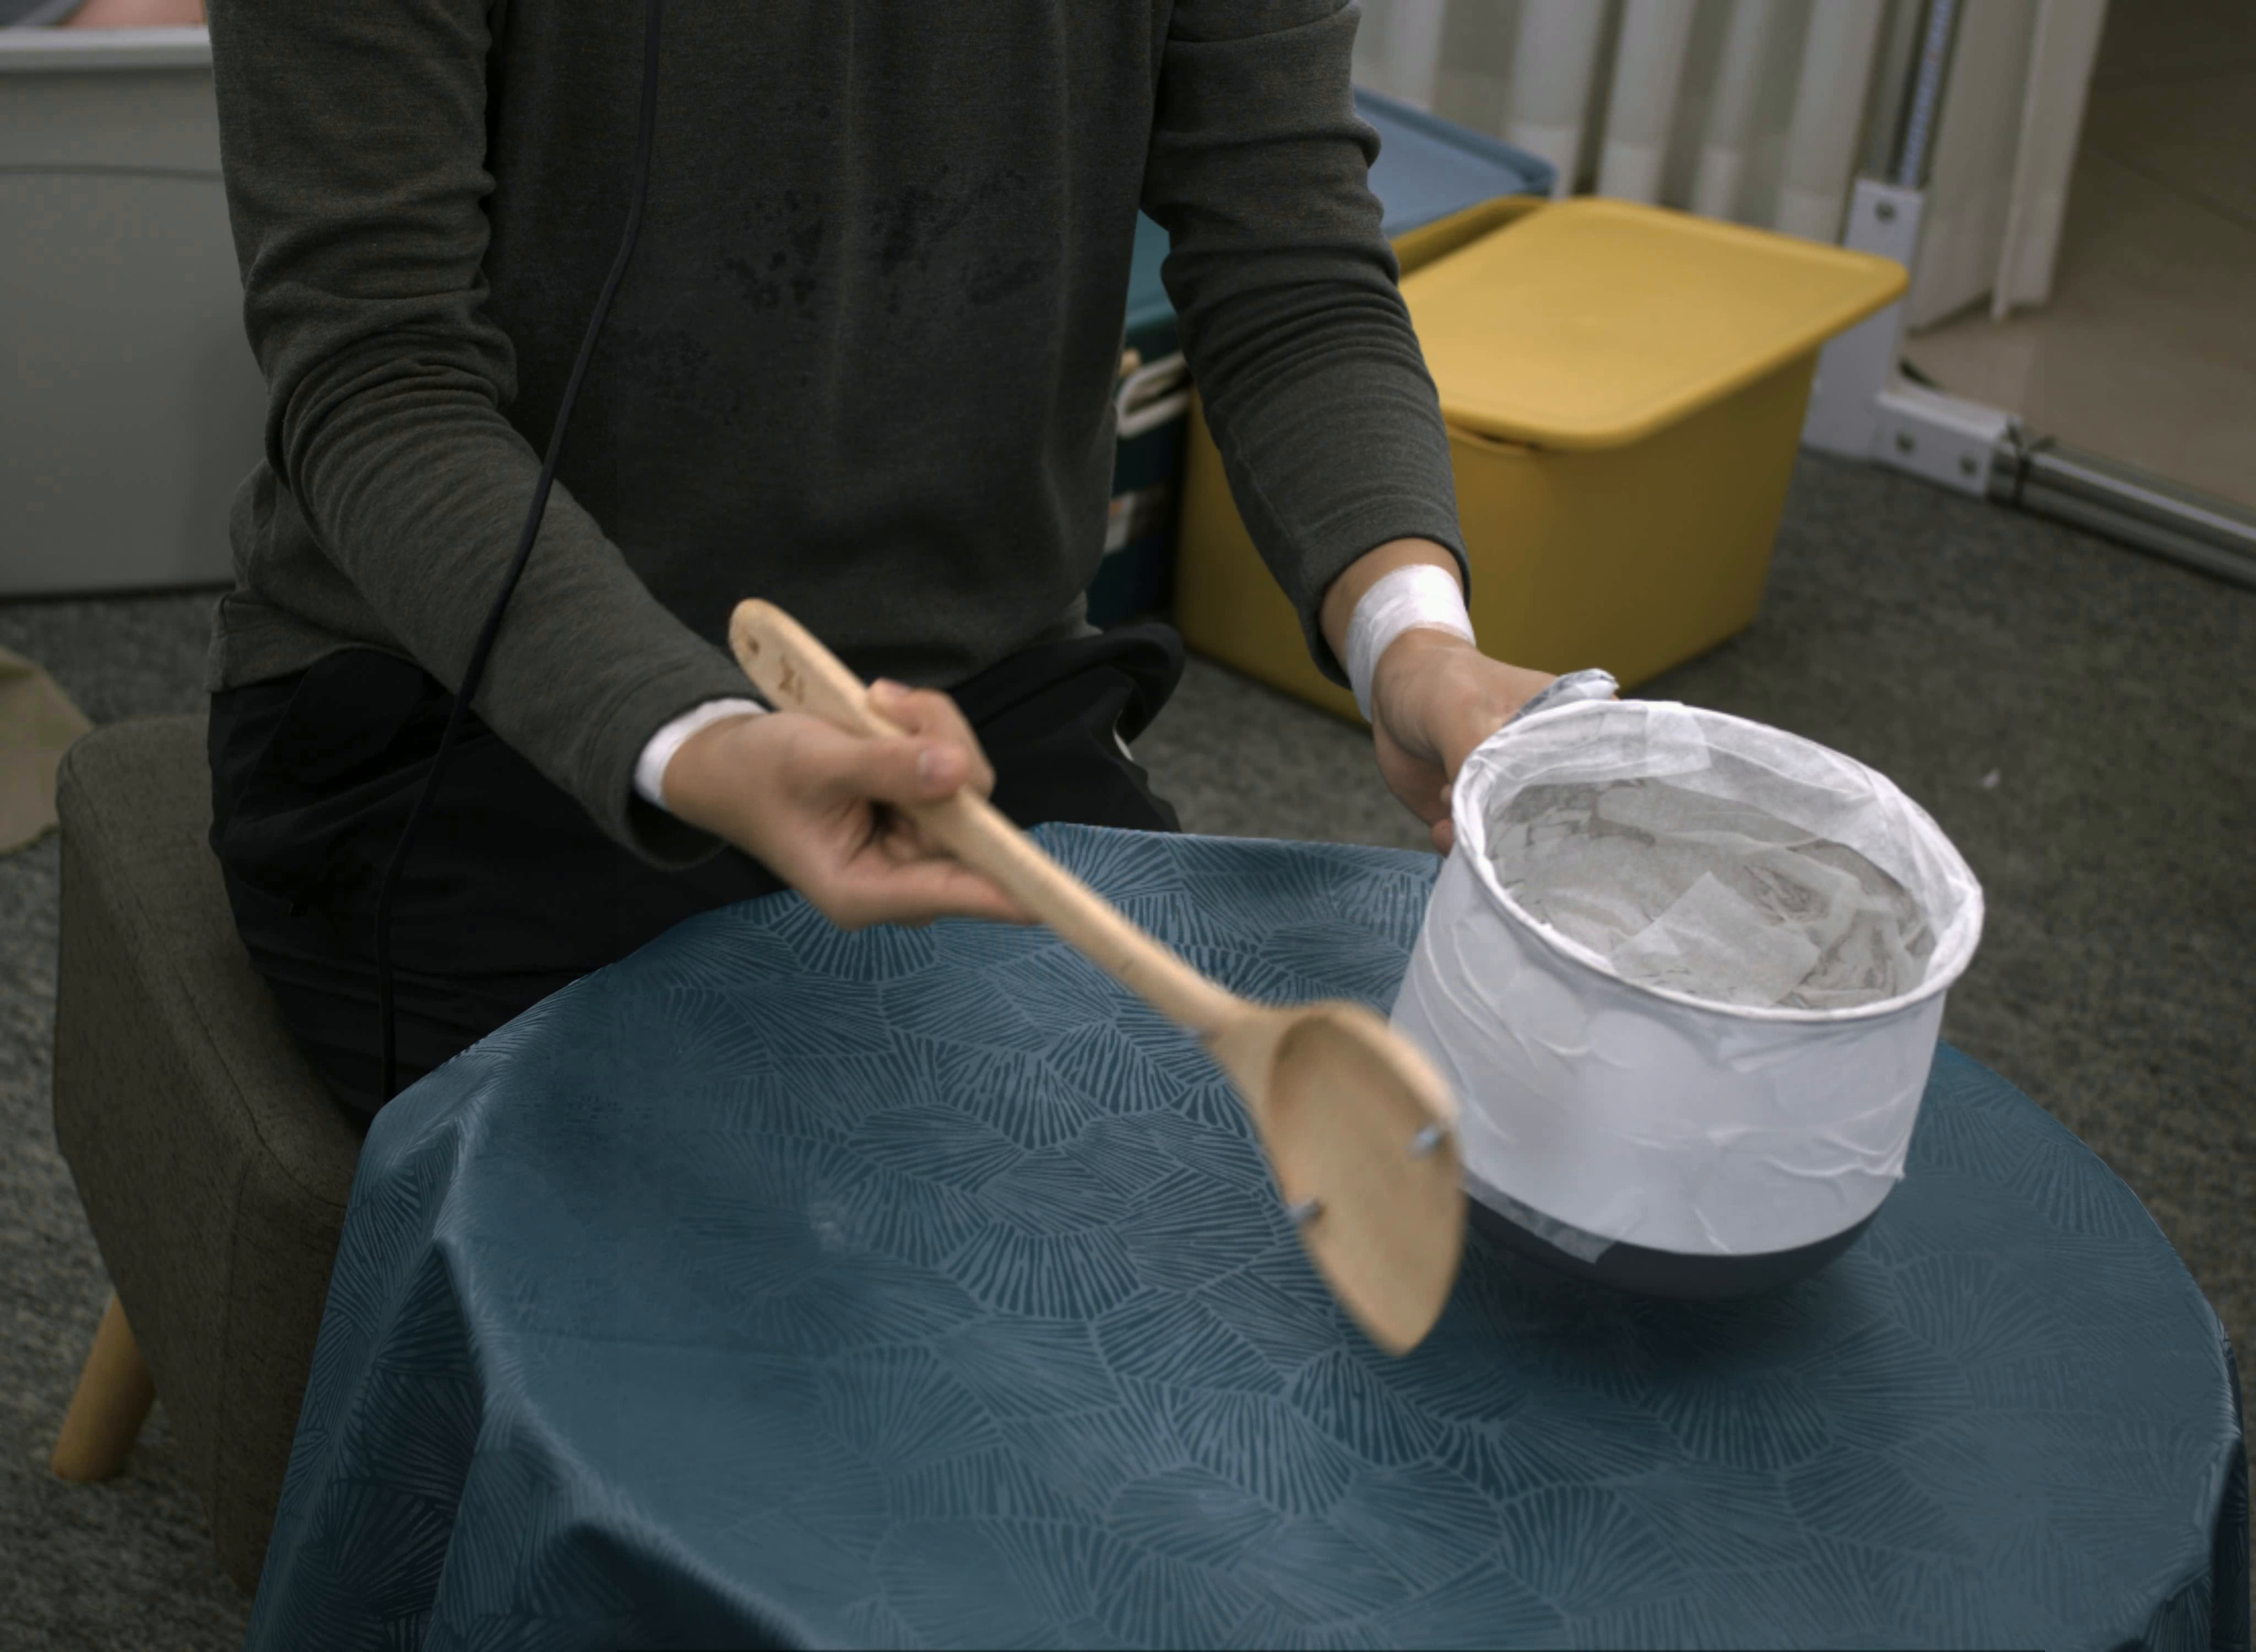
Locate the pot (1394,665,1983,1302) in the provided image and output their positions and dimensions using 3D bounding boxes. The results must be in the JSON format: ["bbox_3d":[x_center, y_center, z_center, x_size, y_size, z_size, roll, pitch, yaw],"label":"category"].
[{"bbox_3d":[0.169,0.044,1.774,0.177,0.136,0.236,-3,36,-23],"label":"pot"}]

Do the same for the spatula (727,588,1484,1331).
[{"bbox_3d":[-0.015,0.024,1.665,0.018,0.095,0.394,-17,38,-36],"label":"spatula"}]
